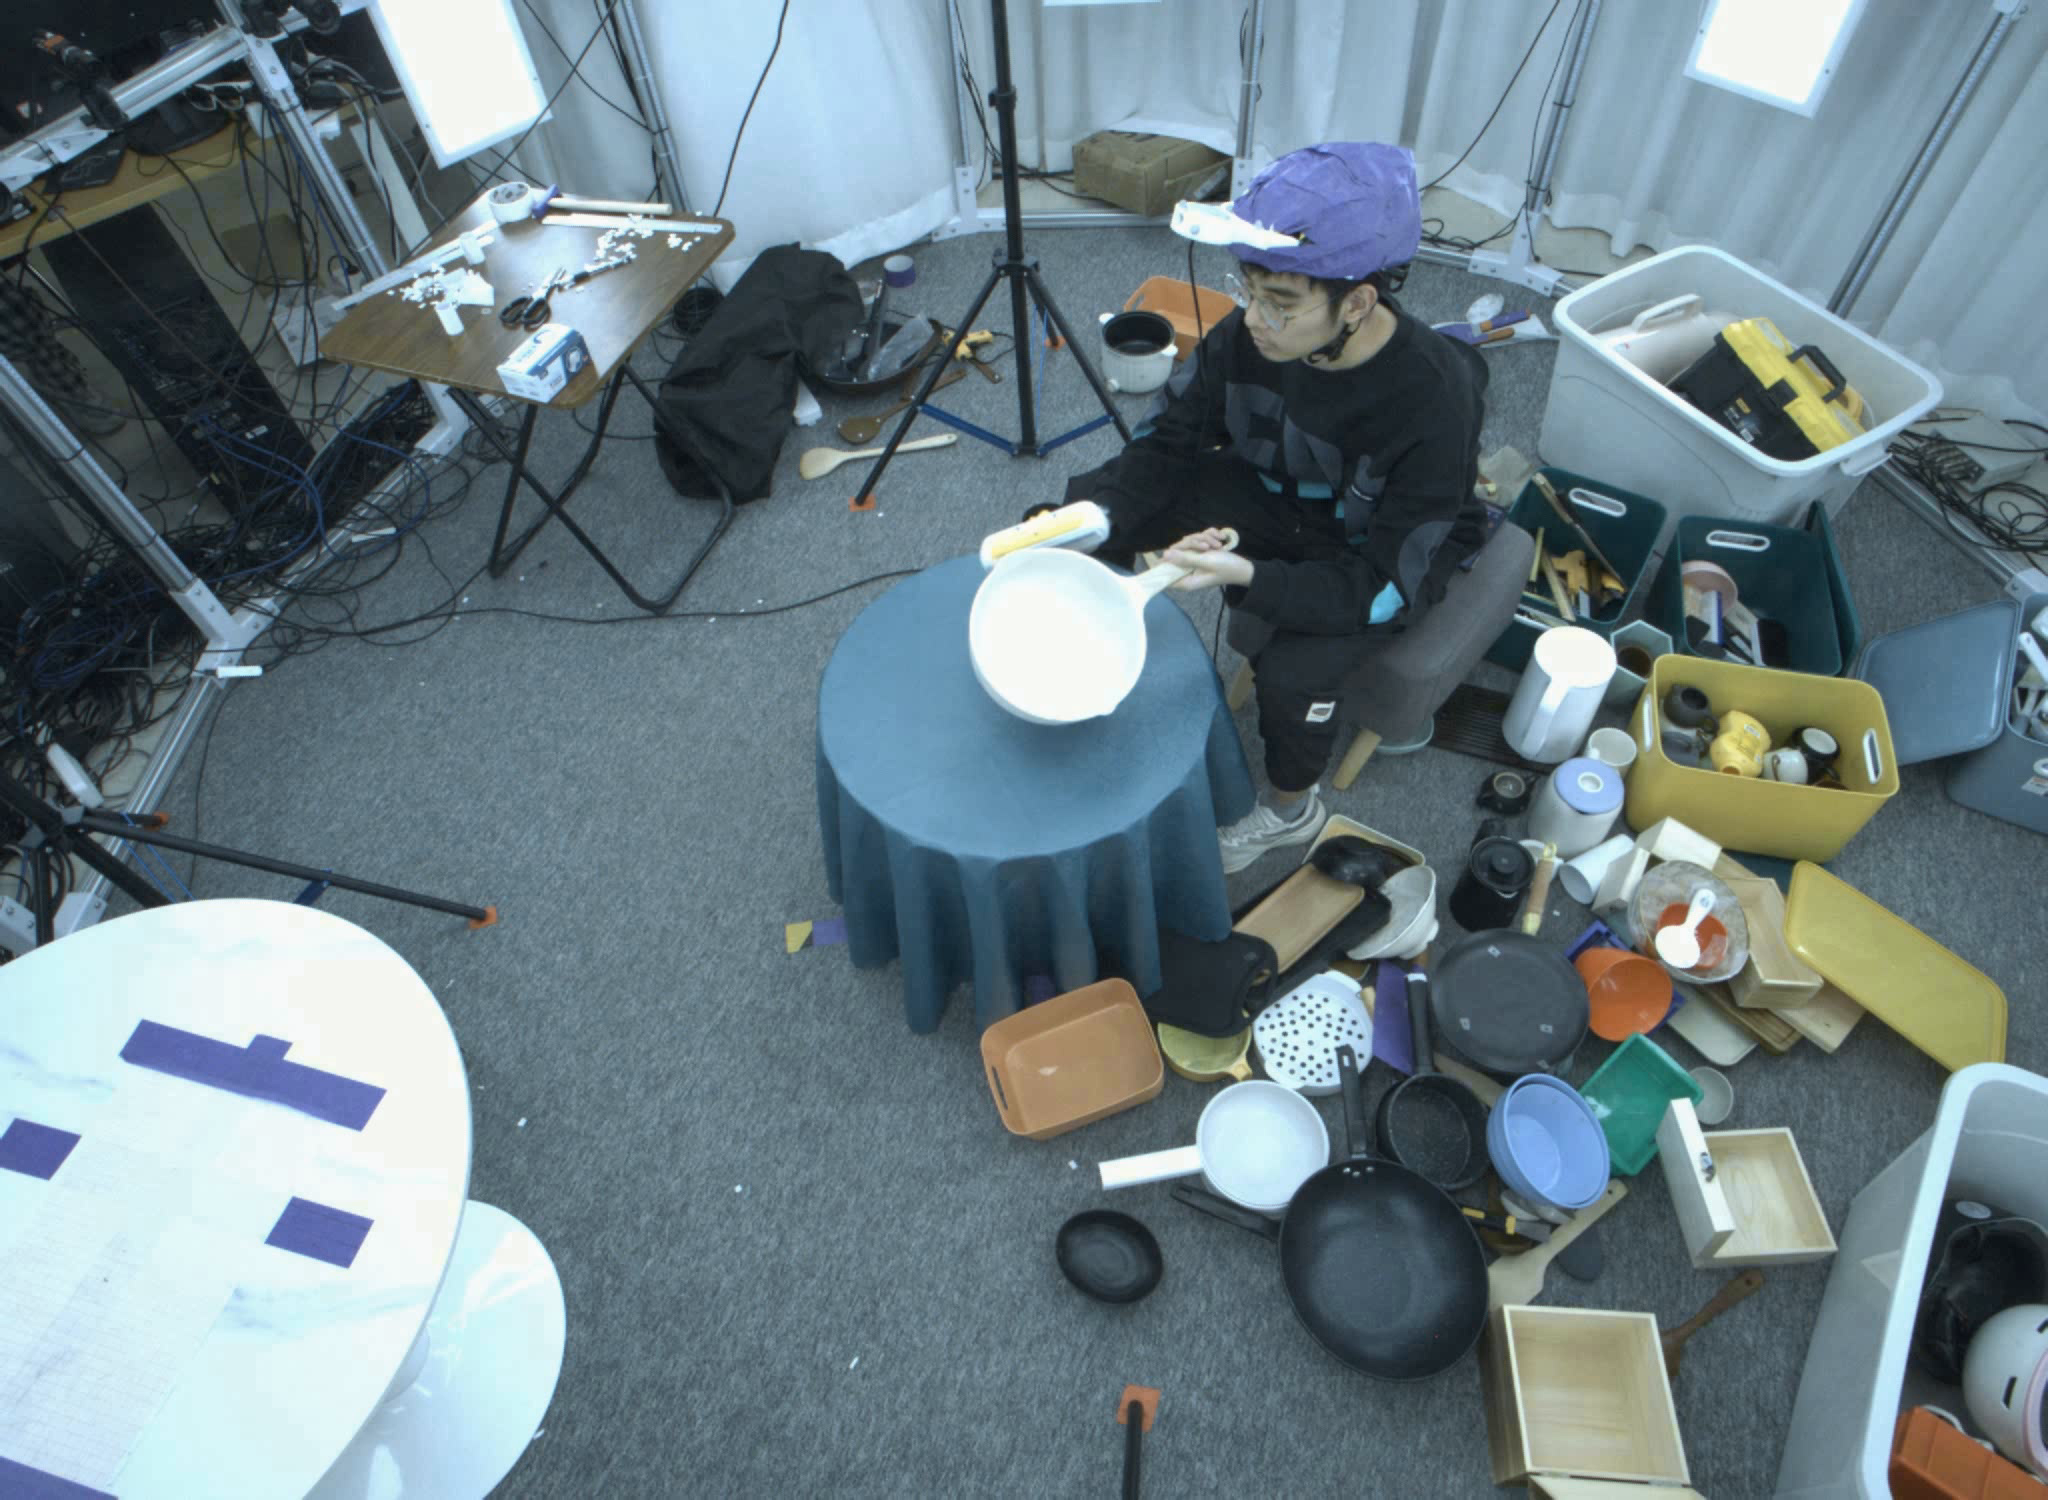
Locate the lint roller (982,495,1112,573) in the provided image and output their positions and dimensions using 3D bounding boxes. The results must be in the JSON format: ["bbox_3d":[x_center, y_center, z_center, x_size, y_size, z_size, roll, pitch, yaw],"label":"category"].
[{"bbox_3d":[0.045,-0.308,1.825,0.192,0.195,0.073,-23,78,12],"label":"lint roller"}]

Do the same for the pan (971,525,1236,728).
[{"bbox_3d":[0.119,-0.195,1.745,0.438,0.101,0.262,-32,84,-20],"label":"pan"}]
